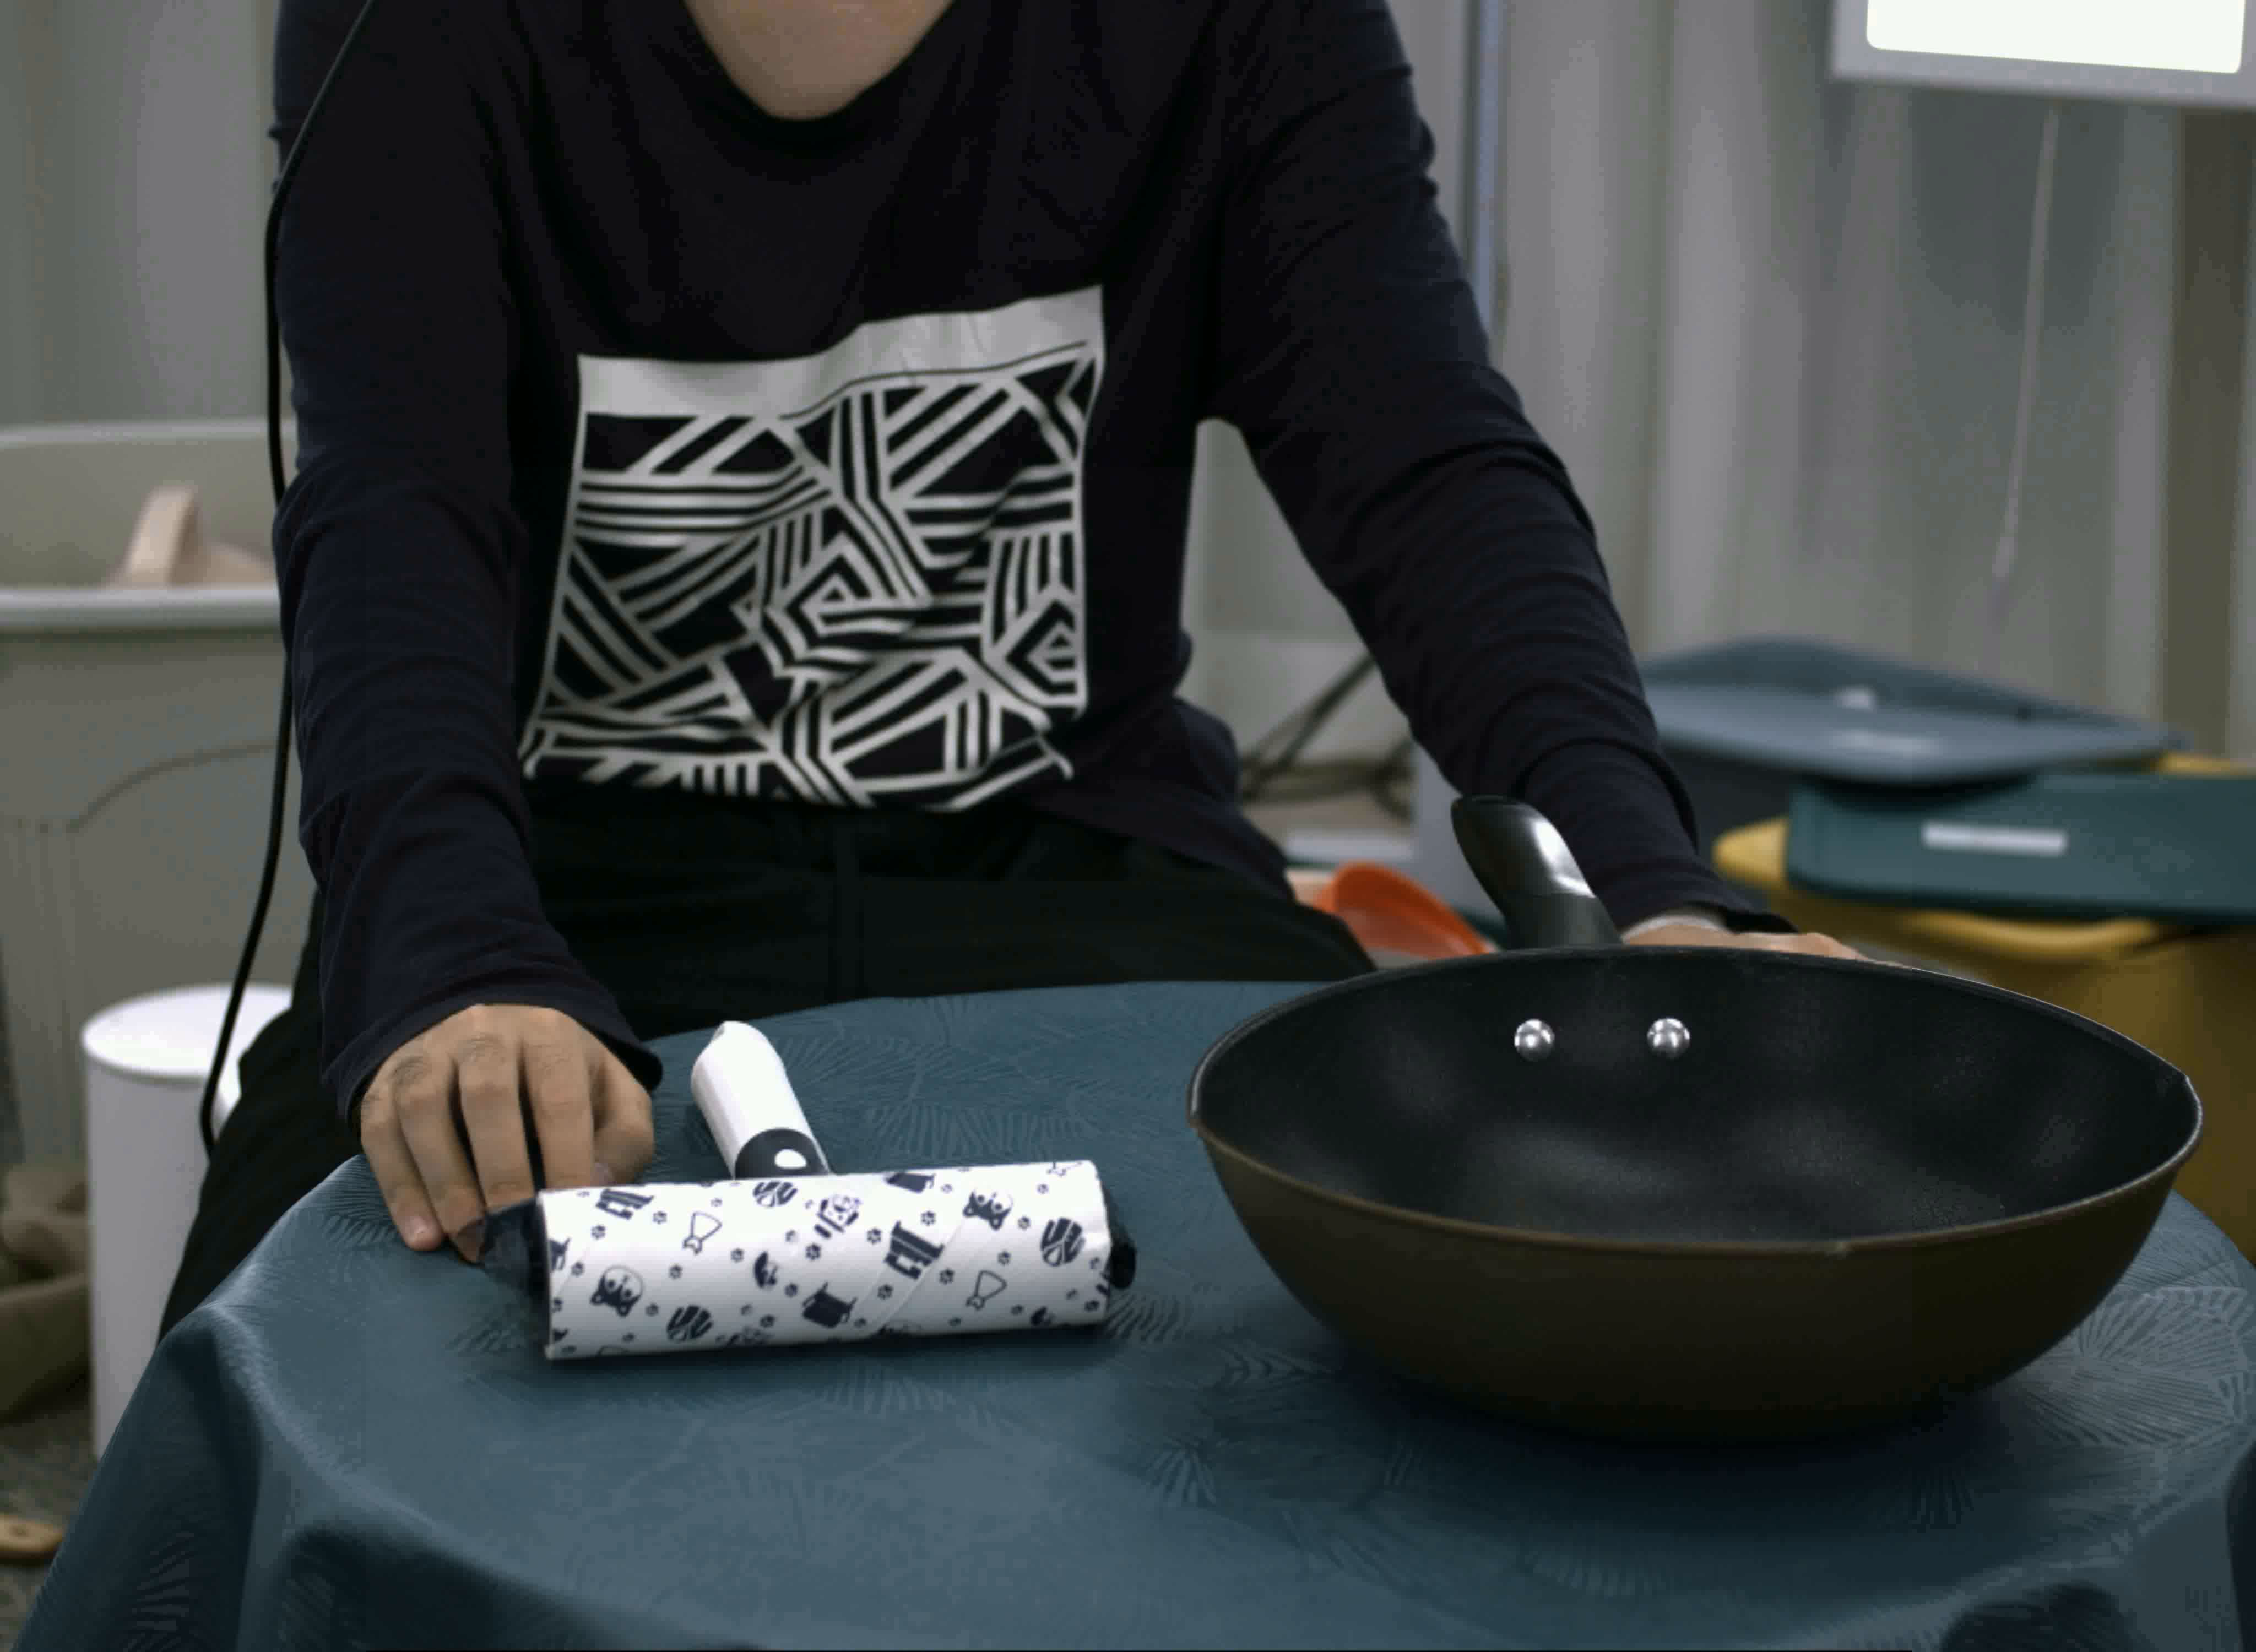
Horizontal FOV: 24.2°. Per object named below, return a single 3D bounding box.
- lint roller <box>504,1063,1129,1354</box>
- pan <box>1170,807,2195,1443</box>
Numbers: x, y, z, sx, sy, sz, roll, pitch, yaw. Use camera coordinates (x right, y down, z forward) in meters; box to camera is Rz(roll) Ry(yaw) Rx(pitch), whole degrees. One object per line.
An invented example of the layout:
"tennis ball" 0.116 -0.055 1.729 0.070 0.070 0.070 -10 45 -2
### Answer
"lint roller" -0.108 0.101 1.589 0.176 0.051 0.245 -4 12 -11
"pan" 0.146 0.086 1.568 0.288 0.087 0.460 -2 14 -6
